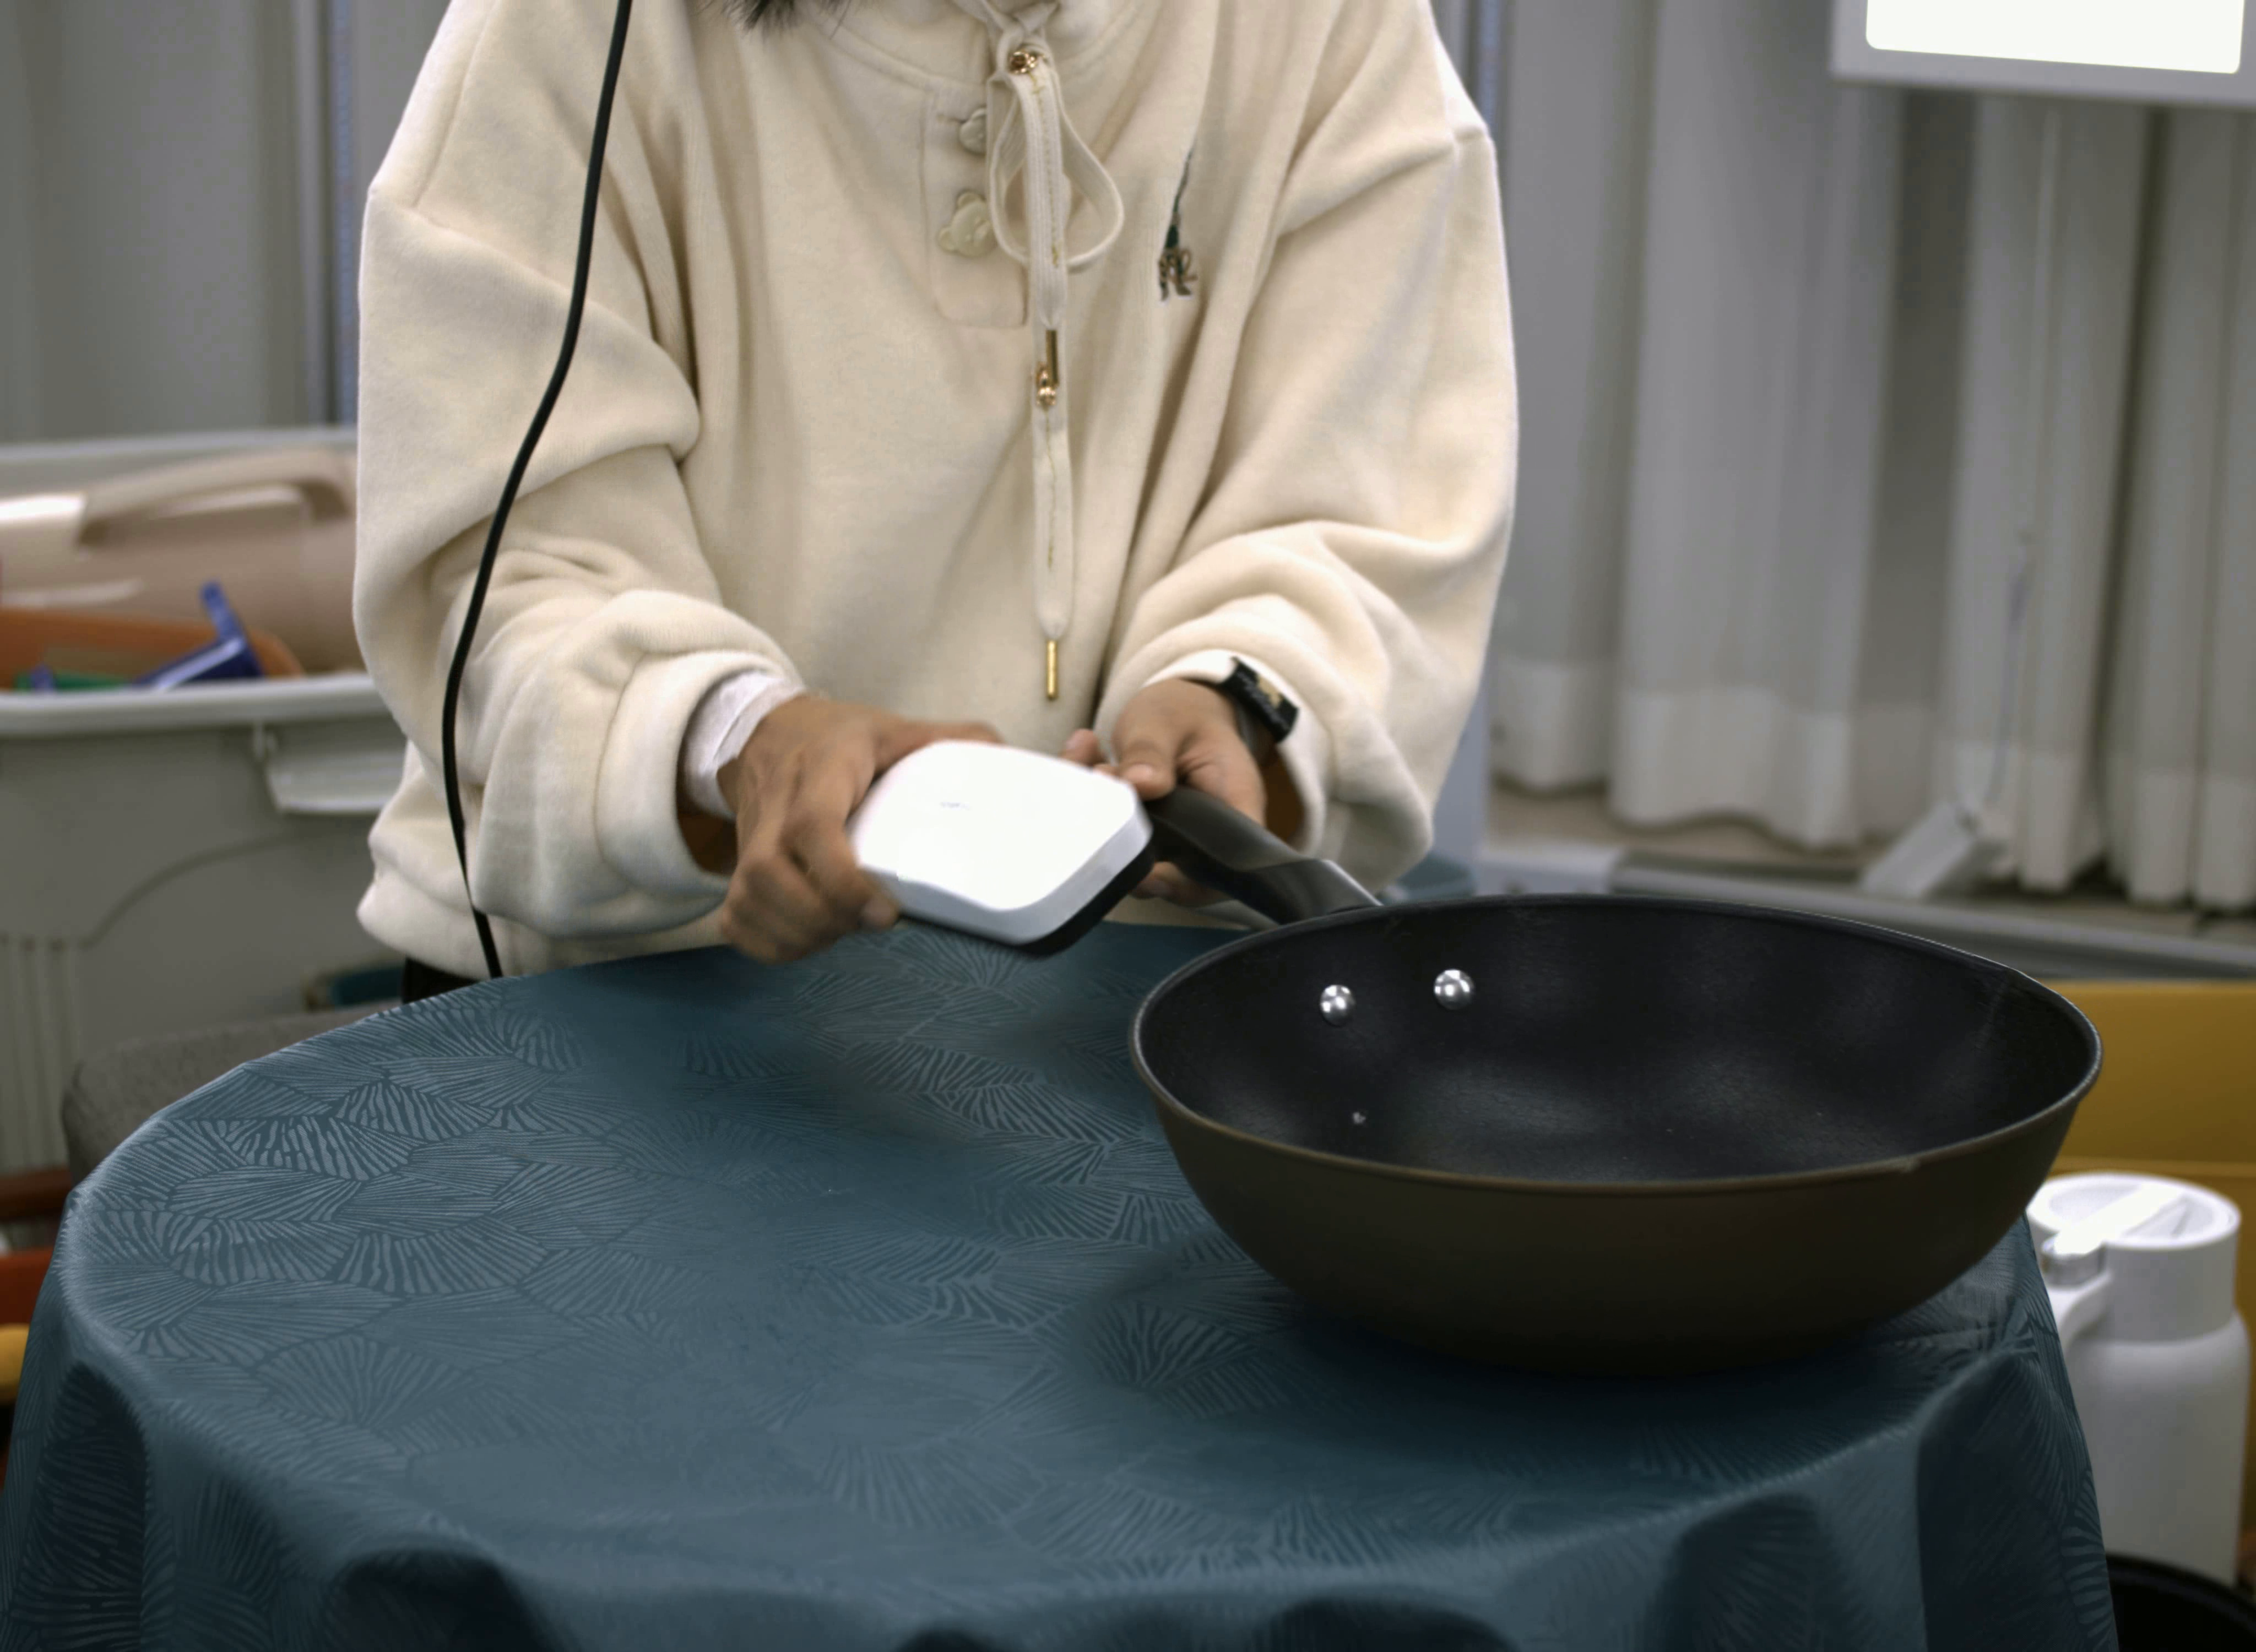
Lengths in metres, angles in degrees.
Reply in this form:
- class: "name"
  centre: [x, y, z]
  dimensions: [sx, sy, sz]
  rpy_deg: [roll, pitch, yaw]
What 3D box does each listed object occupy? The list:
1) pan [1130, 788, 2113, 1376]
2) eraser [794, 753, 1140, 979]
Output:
- class: "pan"
  centre: [0.101, 0.075, 1.605]
  dimensions: [0.289, 0.087, 0.458]
  rpy_deg: [-6, 16, -25]
- class: "eraser"
  centre: [-0.051, 0.011, 1.660]
  dimensions: [0.063, 0.035, 0.129]
  rpy_deg: [-40, 28, -22]
